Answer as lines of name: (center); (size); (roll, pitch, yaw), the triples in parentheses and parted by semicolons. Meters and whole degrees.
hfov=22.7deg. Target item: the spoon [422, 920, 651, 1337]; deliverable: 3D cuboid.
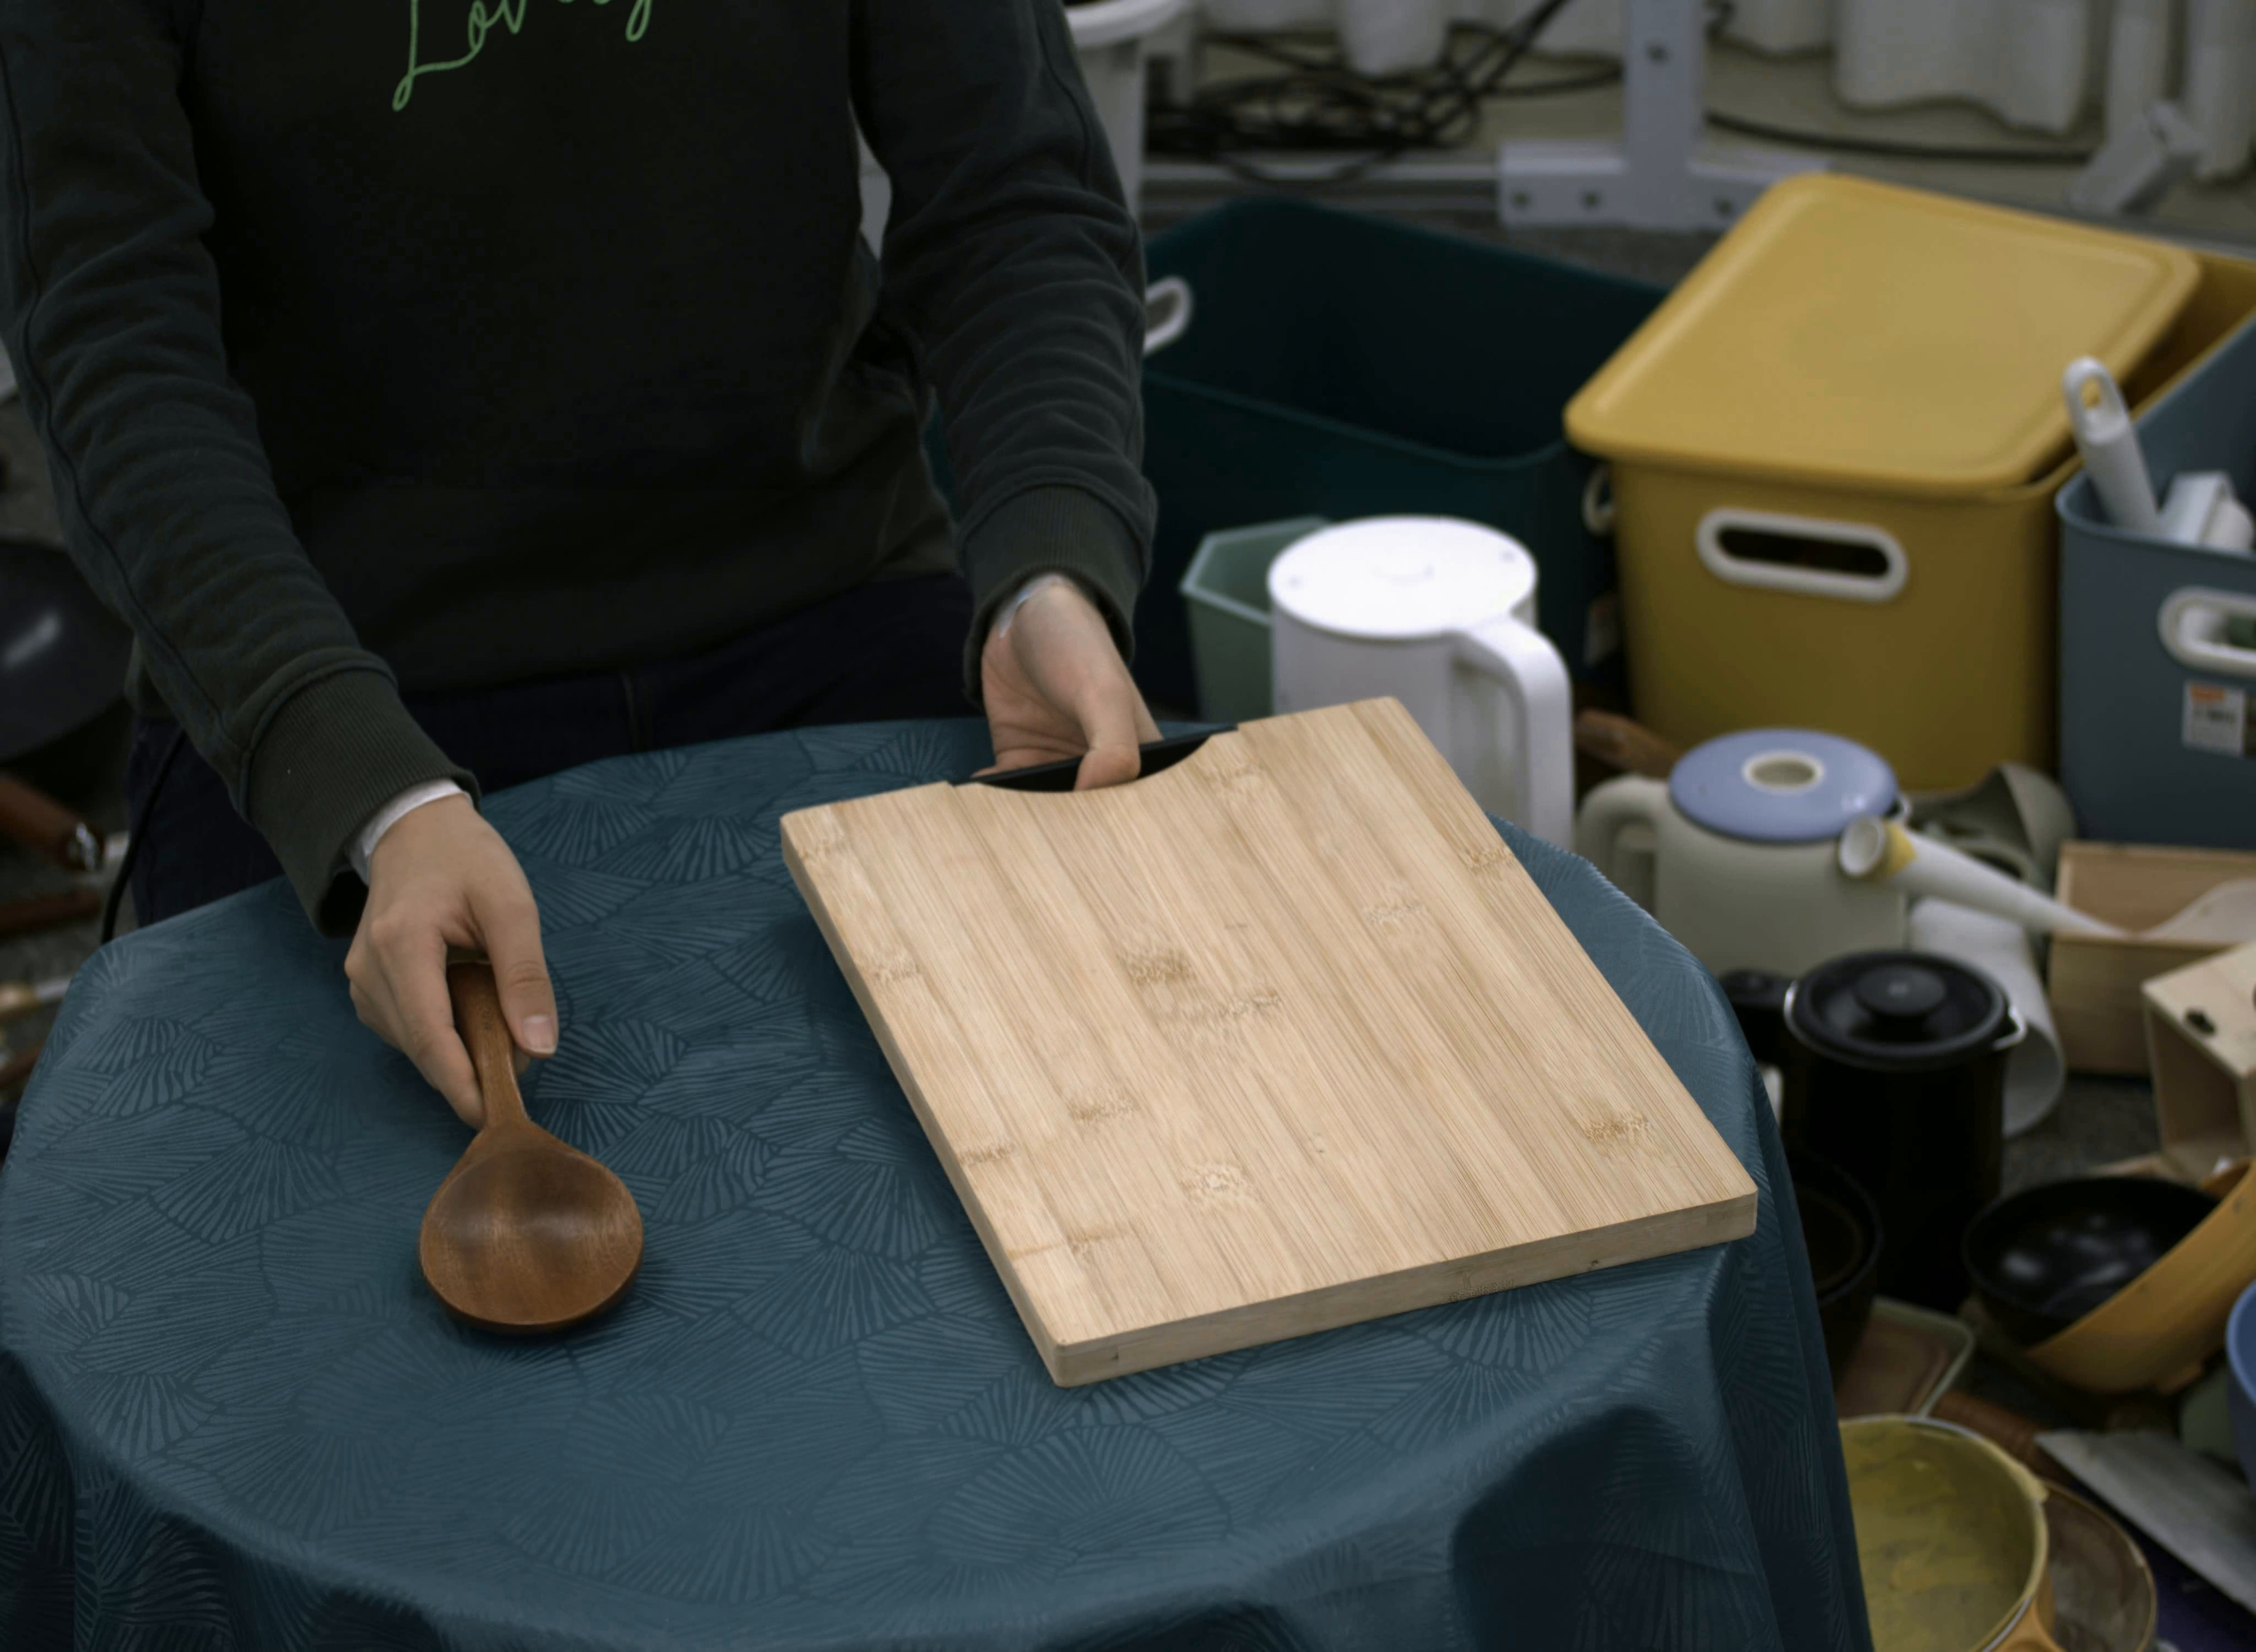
spoon: (-0.206, 0.101, 1.875); (0.075, 0.017, 0.219); (-11, 38, -8)

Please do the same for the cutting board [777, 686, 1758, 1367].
cutting board: (0.038, 0.061, 1.930); (0.251, 0.023, 0.352); (-11, 32, -16)
